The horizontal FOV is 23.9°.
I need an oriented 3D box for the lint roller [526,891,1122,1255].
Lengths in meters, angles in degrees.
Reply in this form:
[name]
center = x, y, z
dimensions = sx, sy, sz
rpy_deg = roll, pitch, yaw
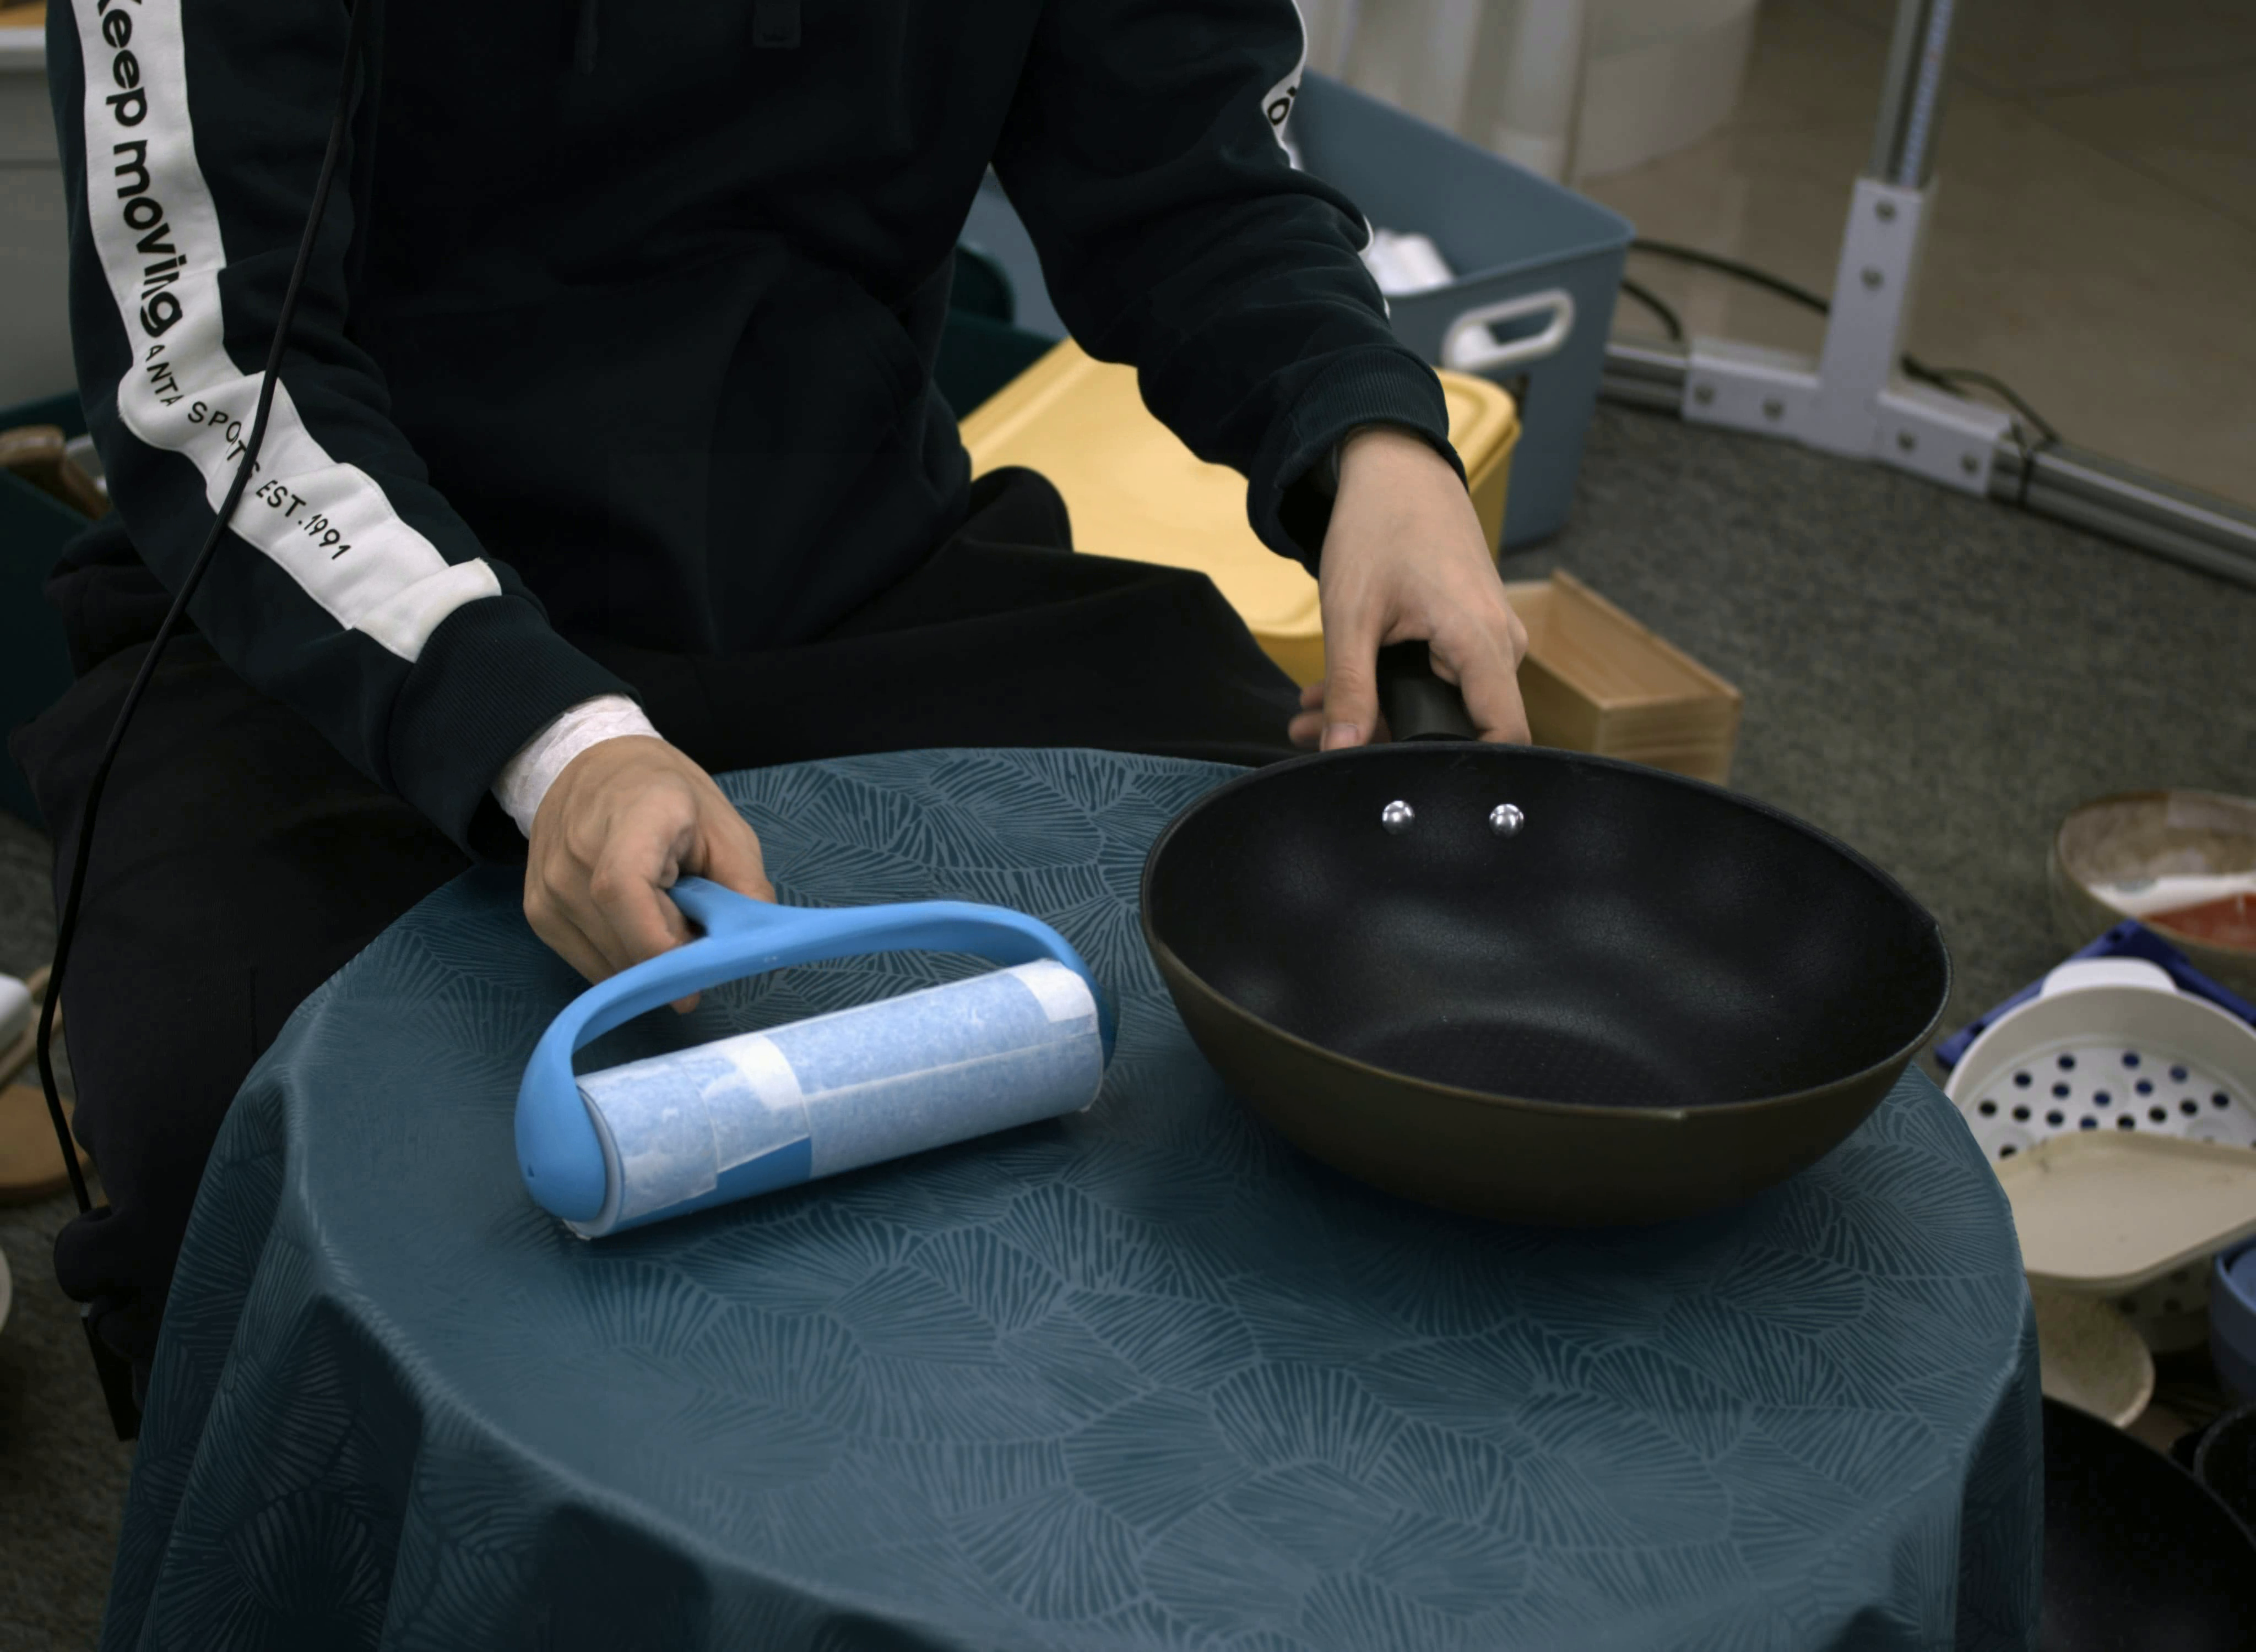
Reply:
[lint roller]
center = -0.133, 0.061, 1.815
dimensions = 0.227, 0.067, 0.182
rpy_deg = -17, 43, -34

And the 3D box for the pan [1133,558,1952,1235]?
[pan]
center = 0.123, 0.027, 1.928
dimensions = 0.286, 0.086, 0.467
rpy_deg = 1, 26, -11
